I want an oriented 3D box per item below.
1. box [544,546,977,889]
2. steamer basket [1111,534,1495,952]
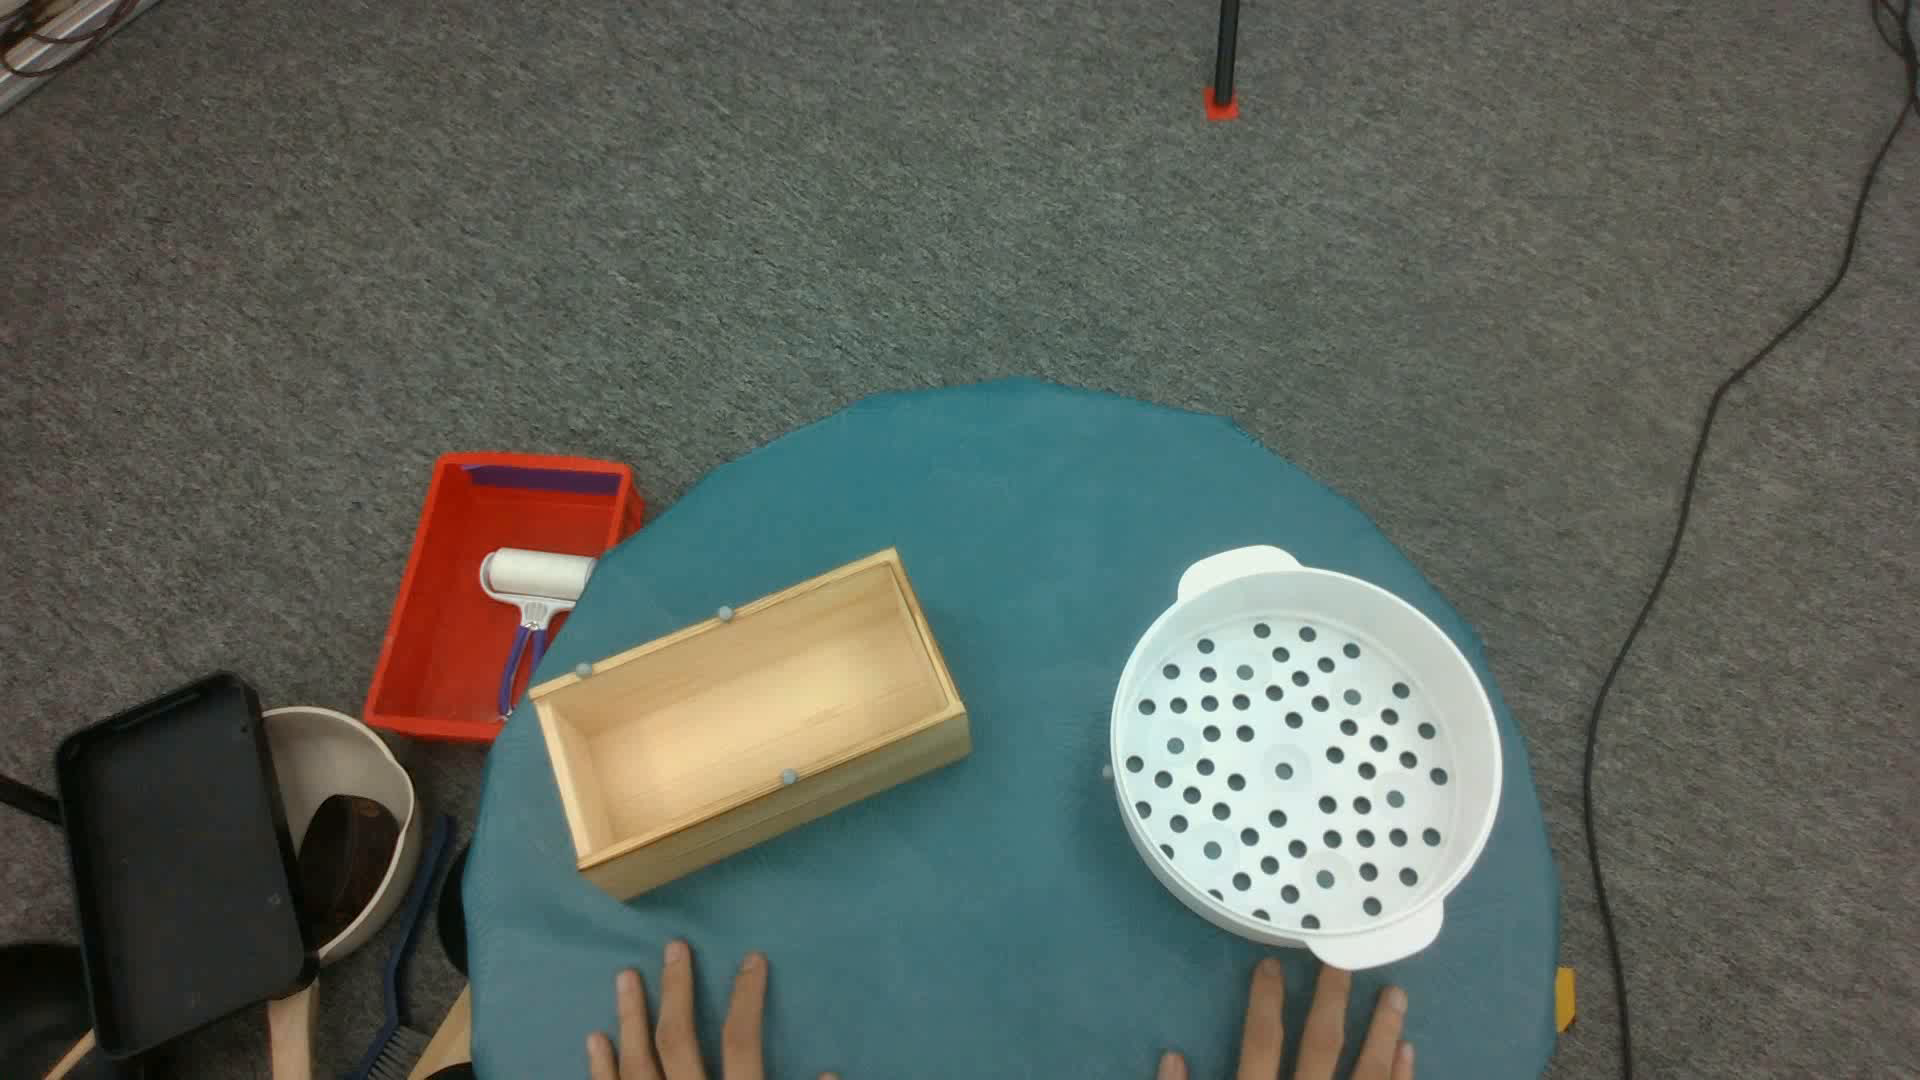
[{"bbox_3d":[-0.108,0.101,0.776,0.211,0.080,0.108,-22,66,-7],"label":"box"},{"bbox_3d":[0.184,0.112,0.761,0.202,0.069,0.231,-15,66,-3],"label":"steamer basket"}]
